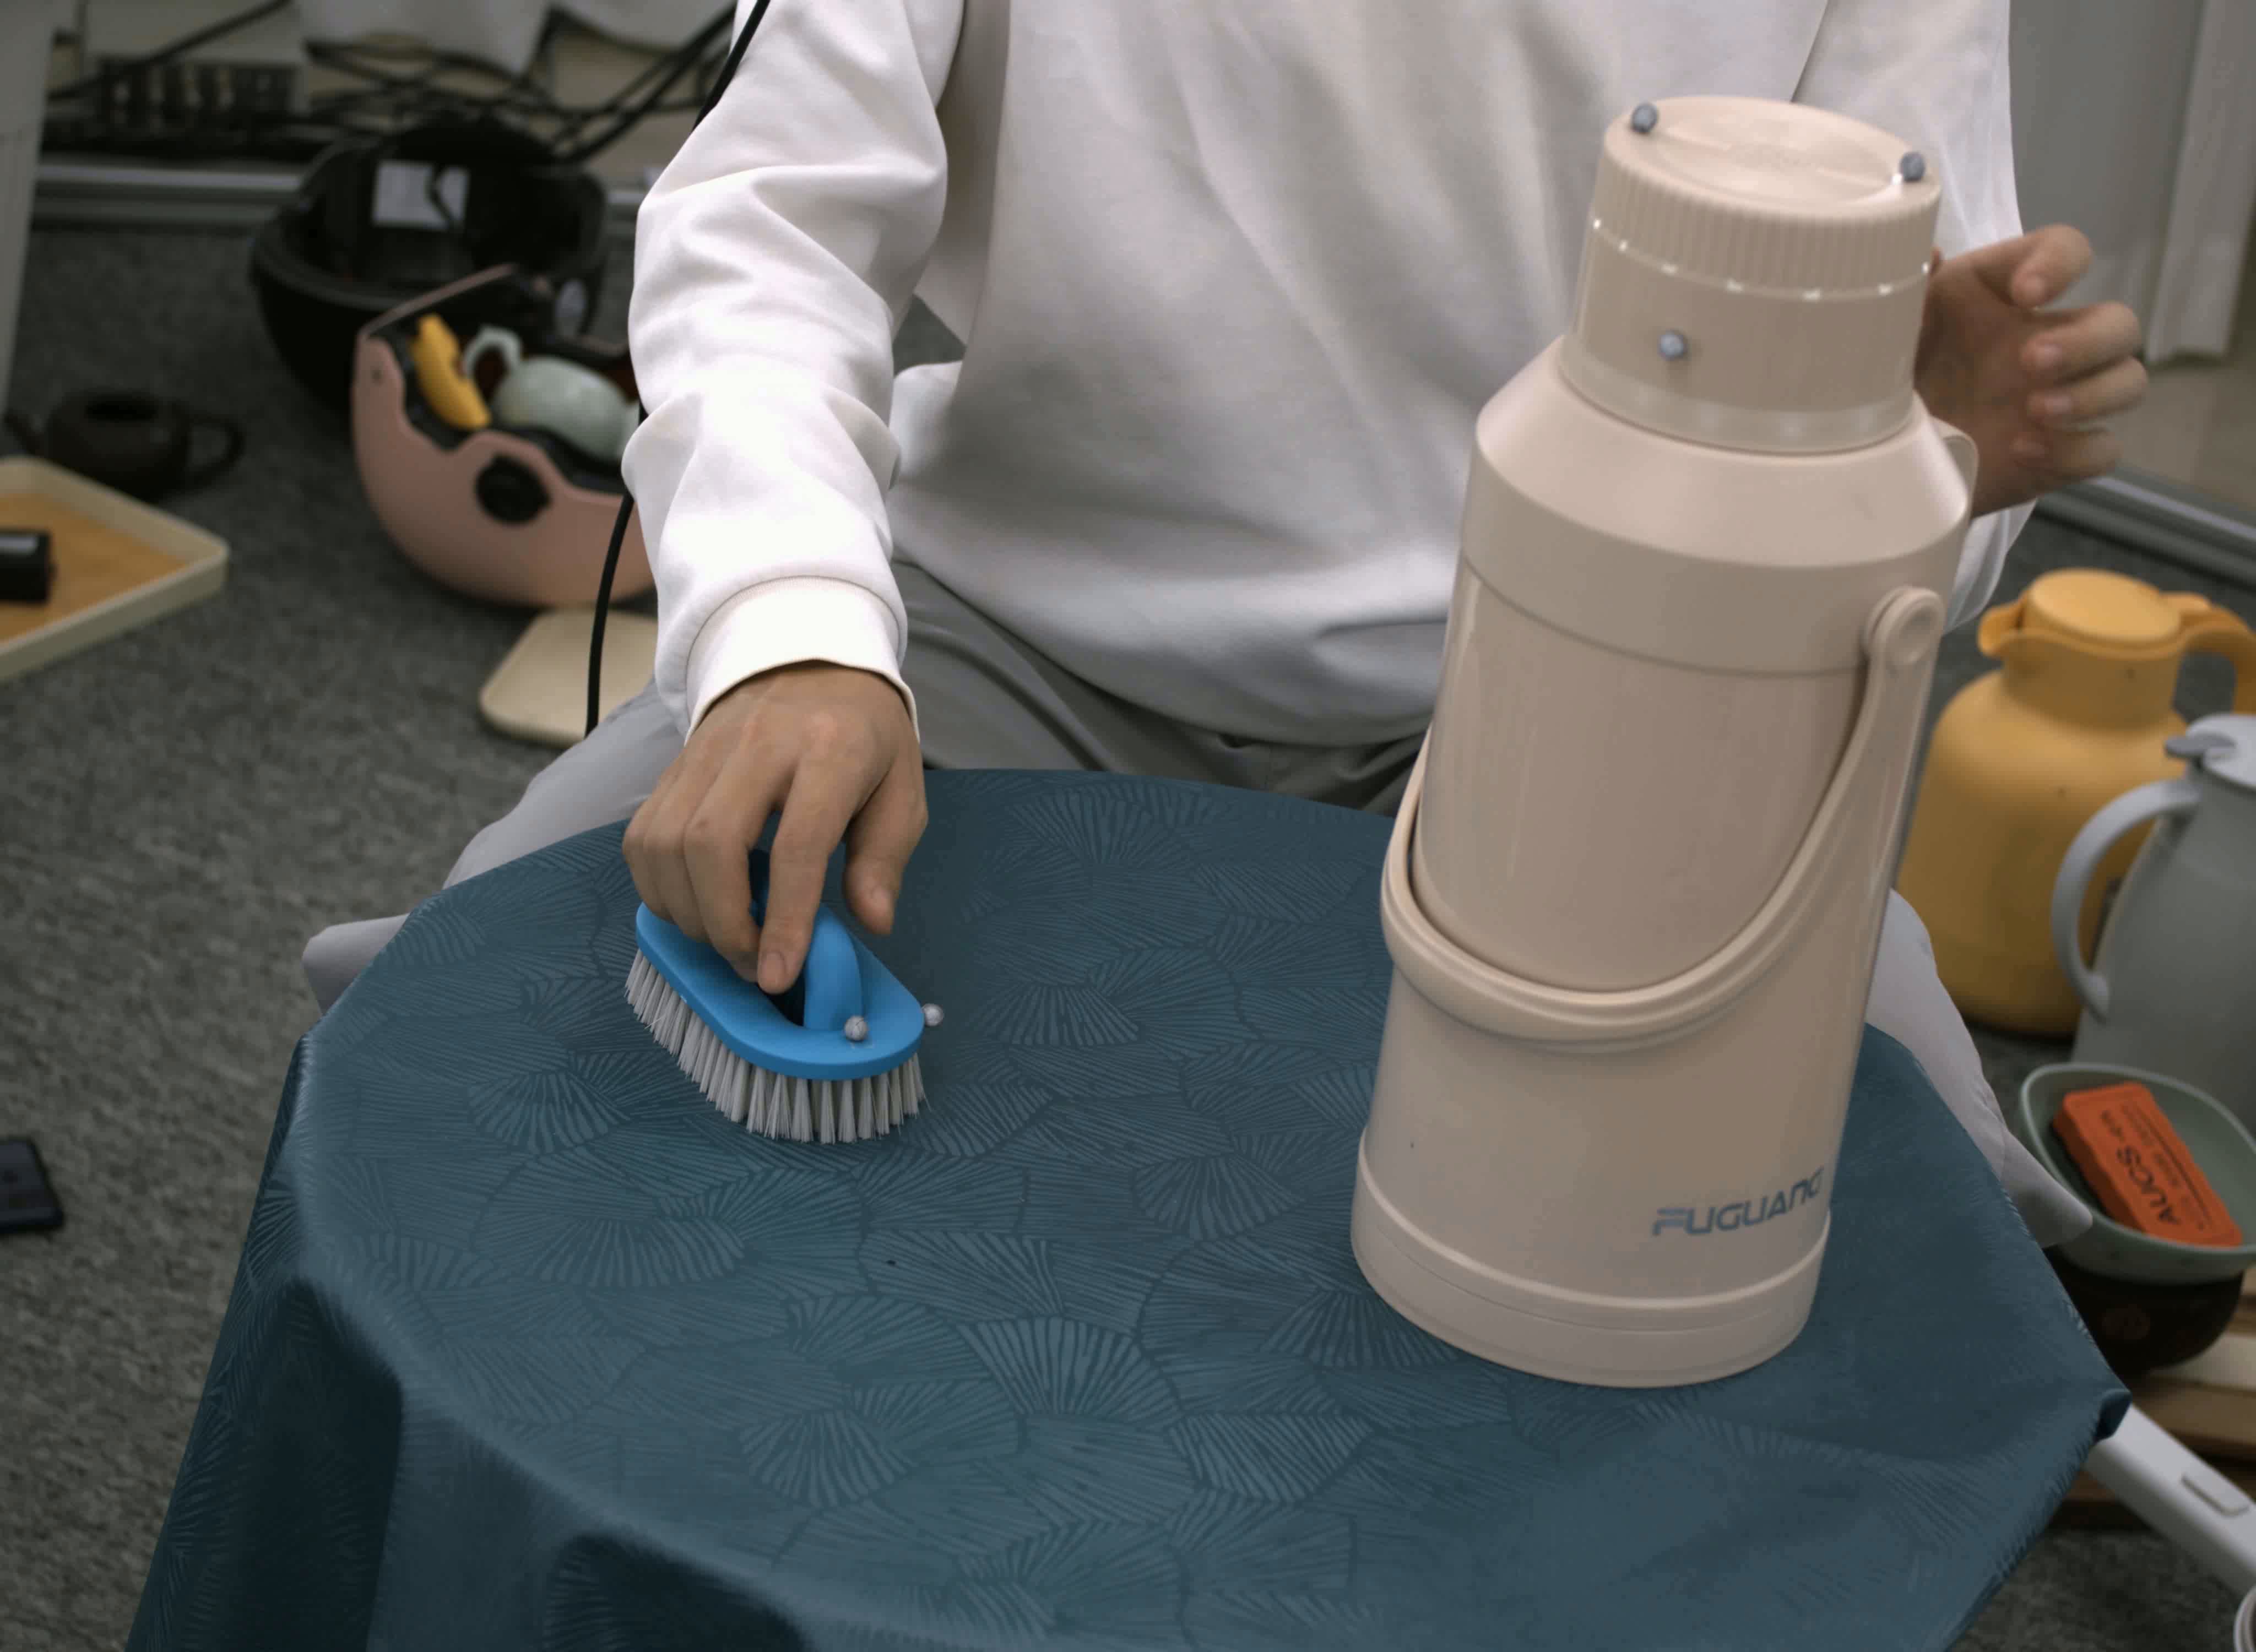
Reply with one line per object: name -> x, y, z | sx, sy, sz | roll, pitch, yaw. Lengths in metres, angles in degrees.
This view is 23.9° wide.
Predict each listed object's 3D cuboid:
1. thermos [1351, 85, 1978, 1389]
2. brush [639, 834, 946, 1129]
thermos -> 0.187, -0.031, 1.717 | 0.206, 0.405, 0.177 | -16, 33, -39
brush -> -0.119, 0.045, 1.856 | 0.084, 0.063, 0.143 | -11, 32, -24
